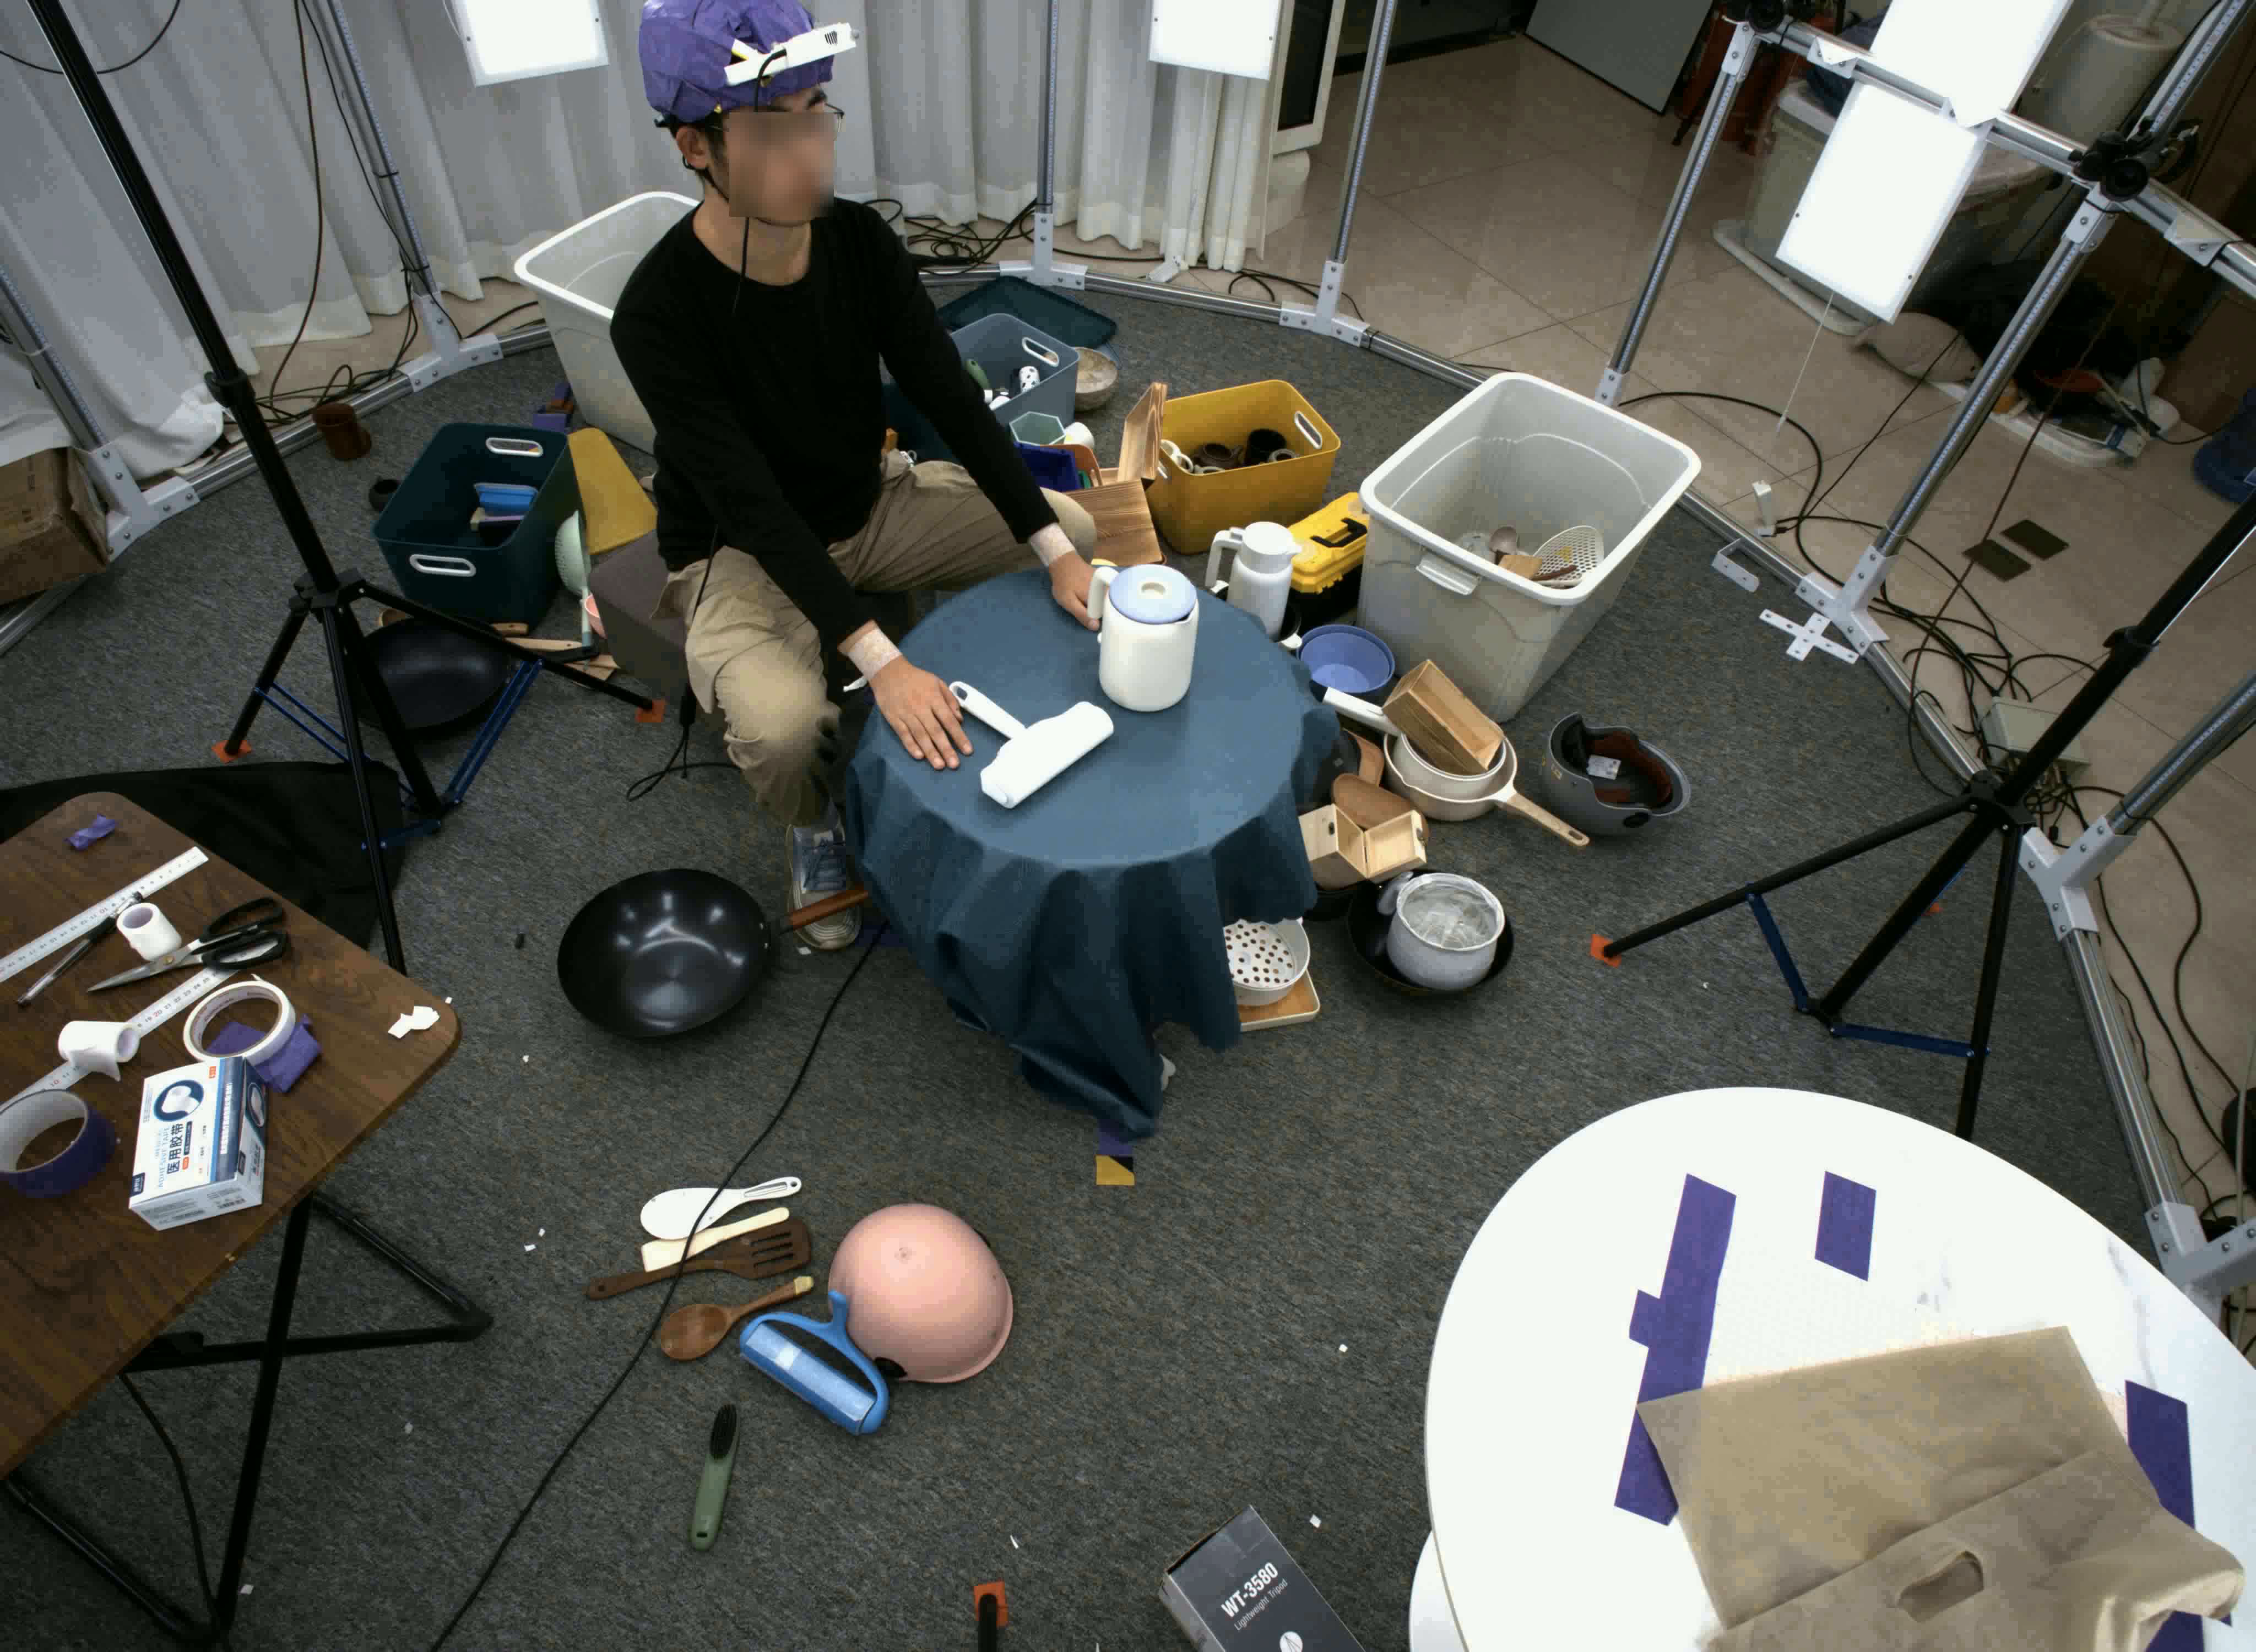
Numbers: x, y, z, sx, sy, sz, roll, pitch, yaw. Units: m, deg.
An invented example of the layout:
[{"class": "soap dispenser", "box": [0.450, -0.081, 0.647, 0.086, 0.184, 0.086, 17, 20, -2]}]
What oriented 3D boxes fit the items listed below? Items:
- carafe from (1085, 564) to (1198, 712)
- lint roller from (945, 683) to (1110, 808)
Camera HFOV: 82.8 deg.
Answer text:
[{"class": "carafe", "box": [0.011, -0.275, 1.798, 0.133, 0.178, 0.194, -35, 58, -30]}, {"class": "lint roller", "box": [-0.168, -0.142, 1.753, 0.229, 0.047, 0.205, 35, 57, 25]}]
